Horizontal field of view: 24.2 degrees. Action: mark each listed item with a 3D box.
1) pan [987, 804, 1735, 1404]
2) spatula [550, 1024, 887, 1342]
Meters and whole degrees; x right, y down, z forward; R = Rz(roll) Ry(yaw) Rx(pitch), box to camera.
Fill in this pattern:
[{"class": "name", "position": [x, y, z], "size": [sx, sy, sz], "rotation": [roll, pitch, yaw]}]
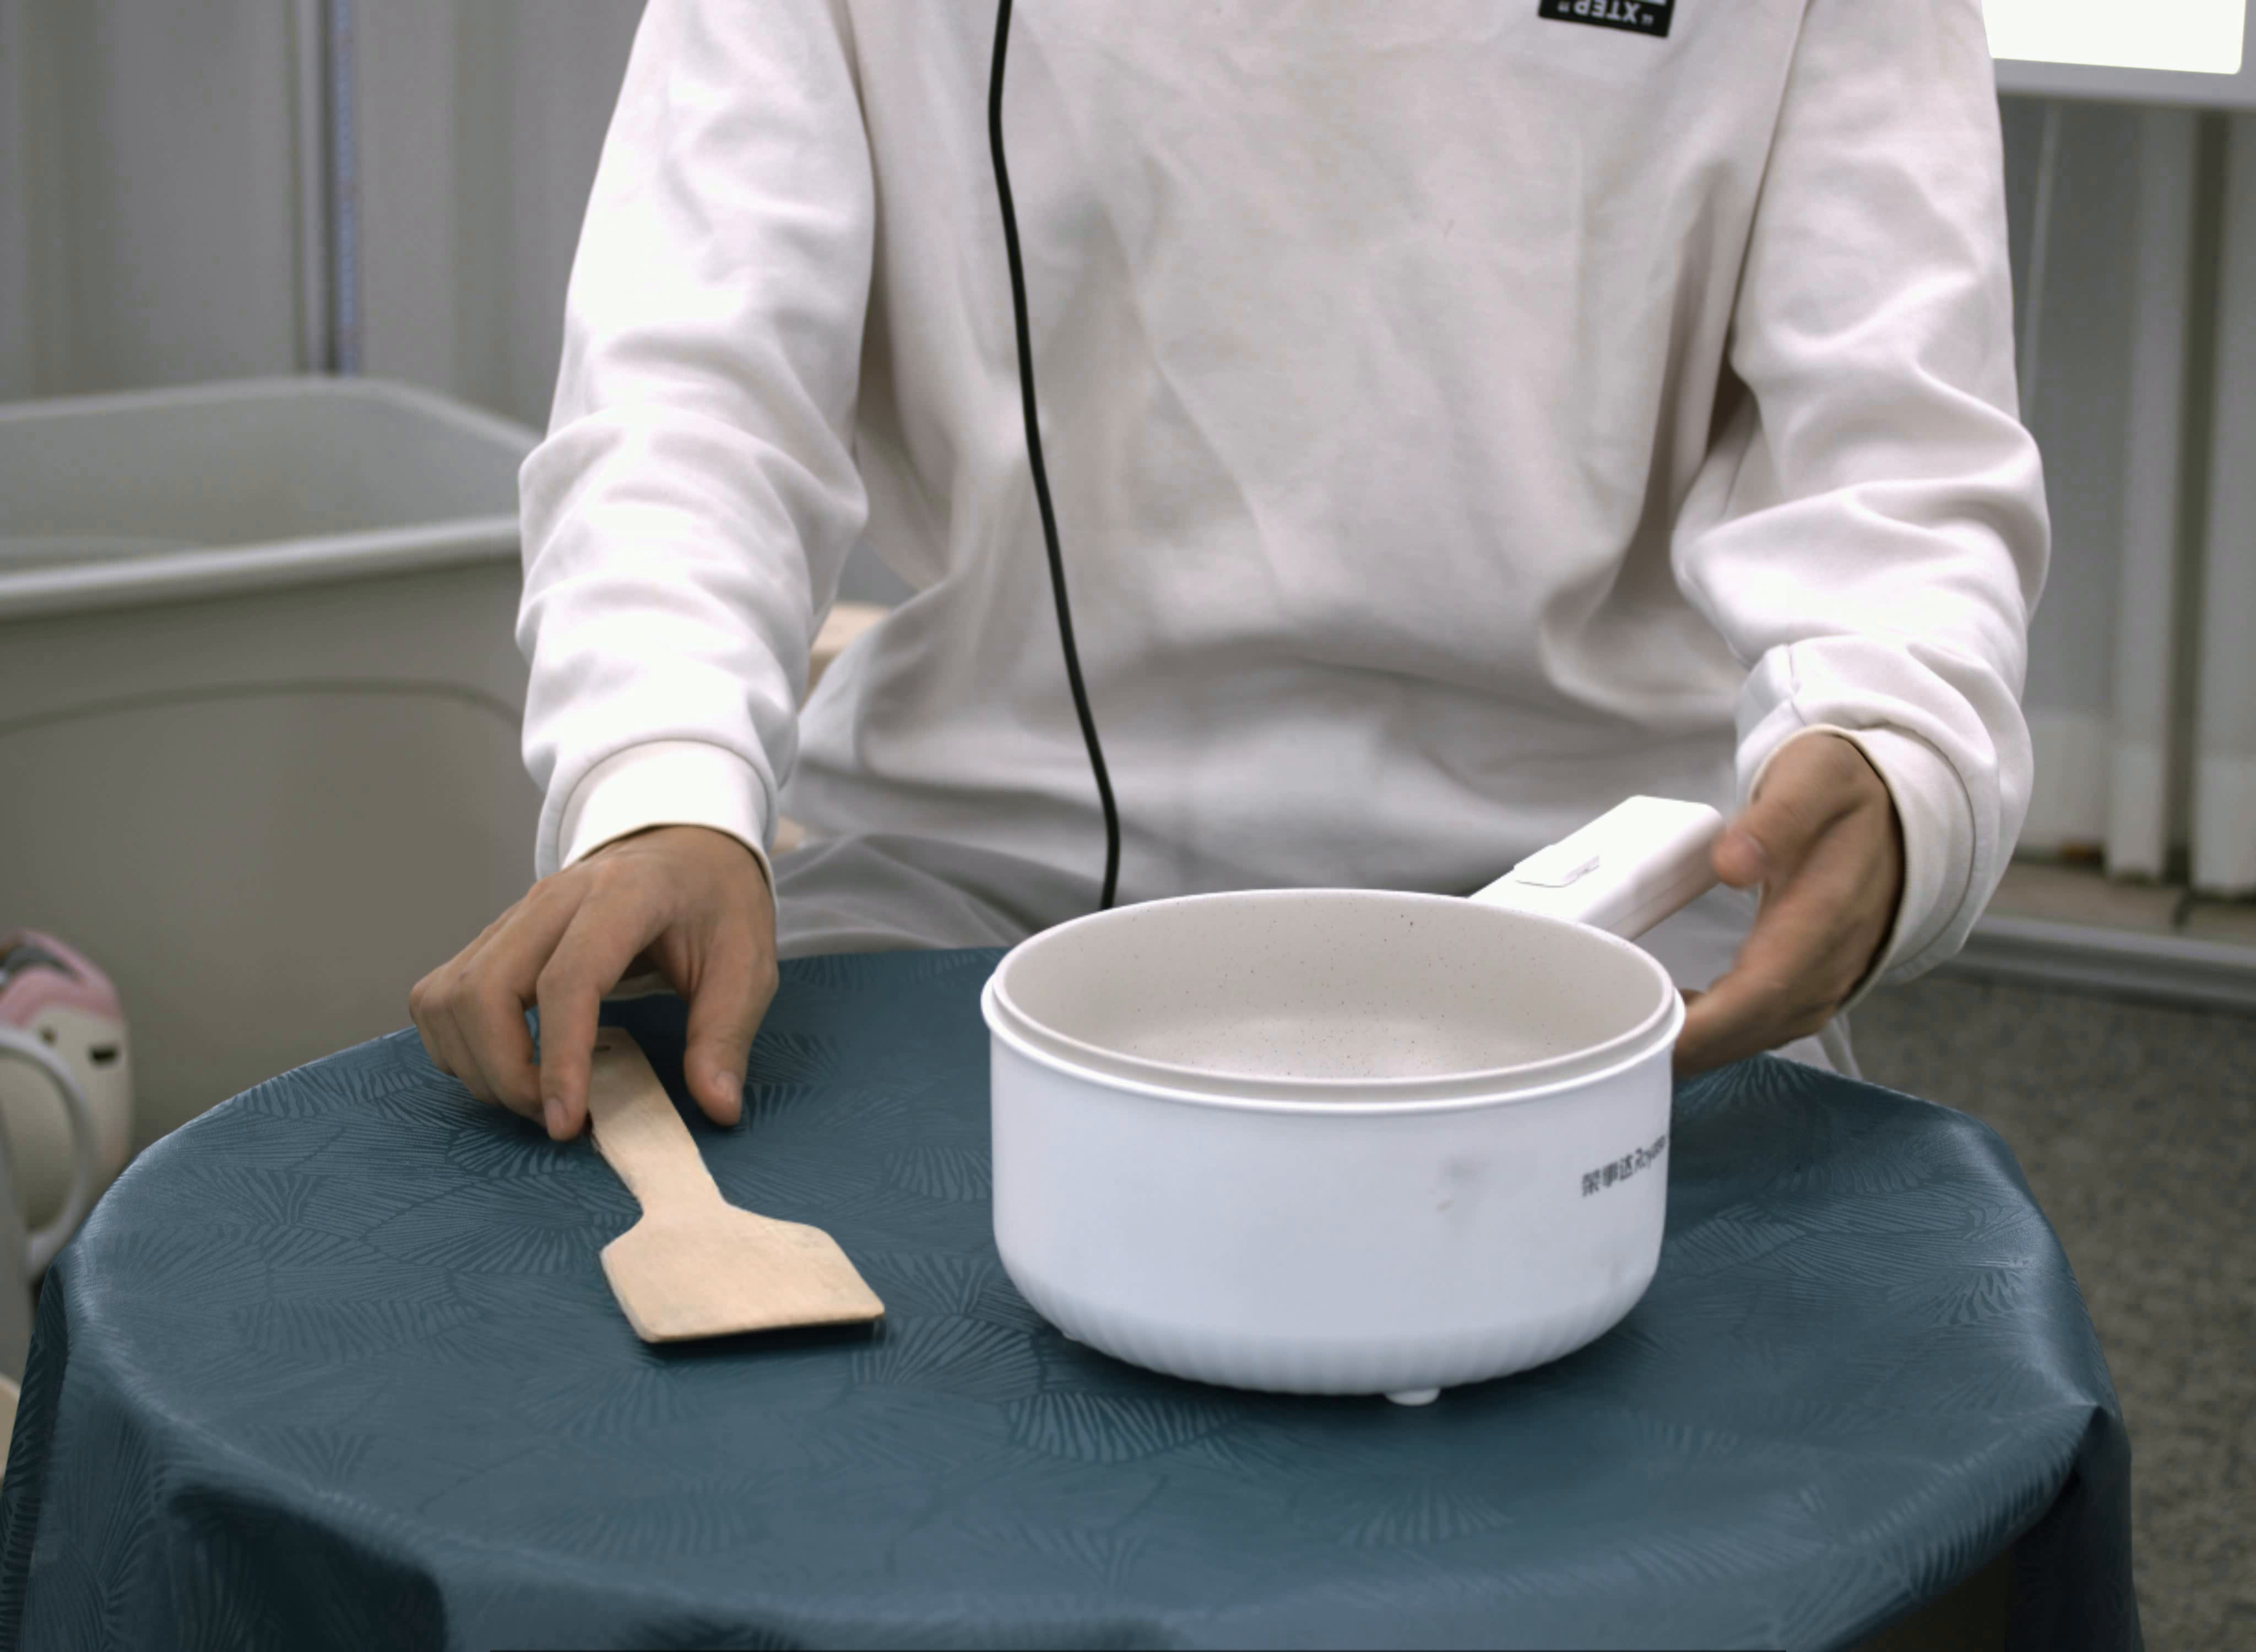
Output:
[{"class": "pan", "position": [0.095, 0.076, 1.582], "size": [0.199, 0.103, 0.356], "rotation": [8, 16, 27]}, {"class": "spatula", "position": [-0.142, 0.107, 1.626], "size": [0.072, 0.011, 0.290], "rotation": [-5, 16, -16]}]
